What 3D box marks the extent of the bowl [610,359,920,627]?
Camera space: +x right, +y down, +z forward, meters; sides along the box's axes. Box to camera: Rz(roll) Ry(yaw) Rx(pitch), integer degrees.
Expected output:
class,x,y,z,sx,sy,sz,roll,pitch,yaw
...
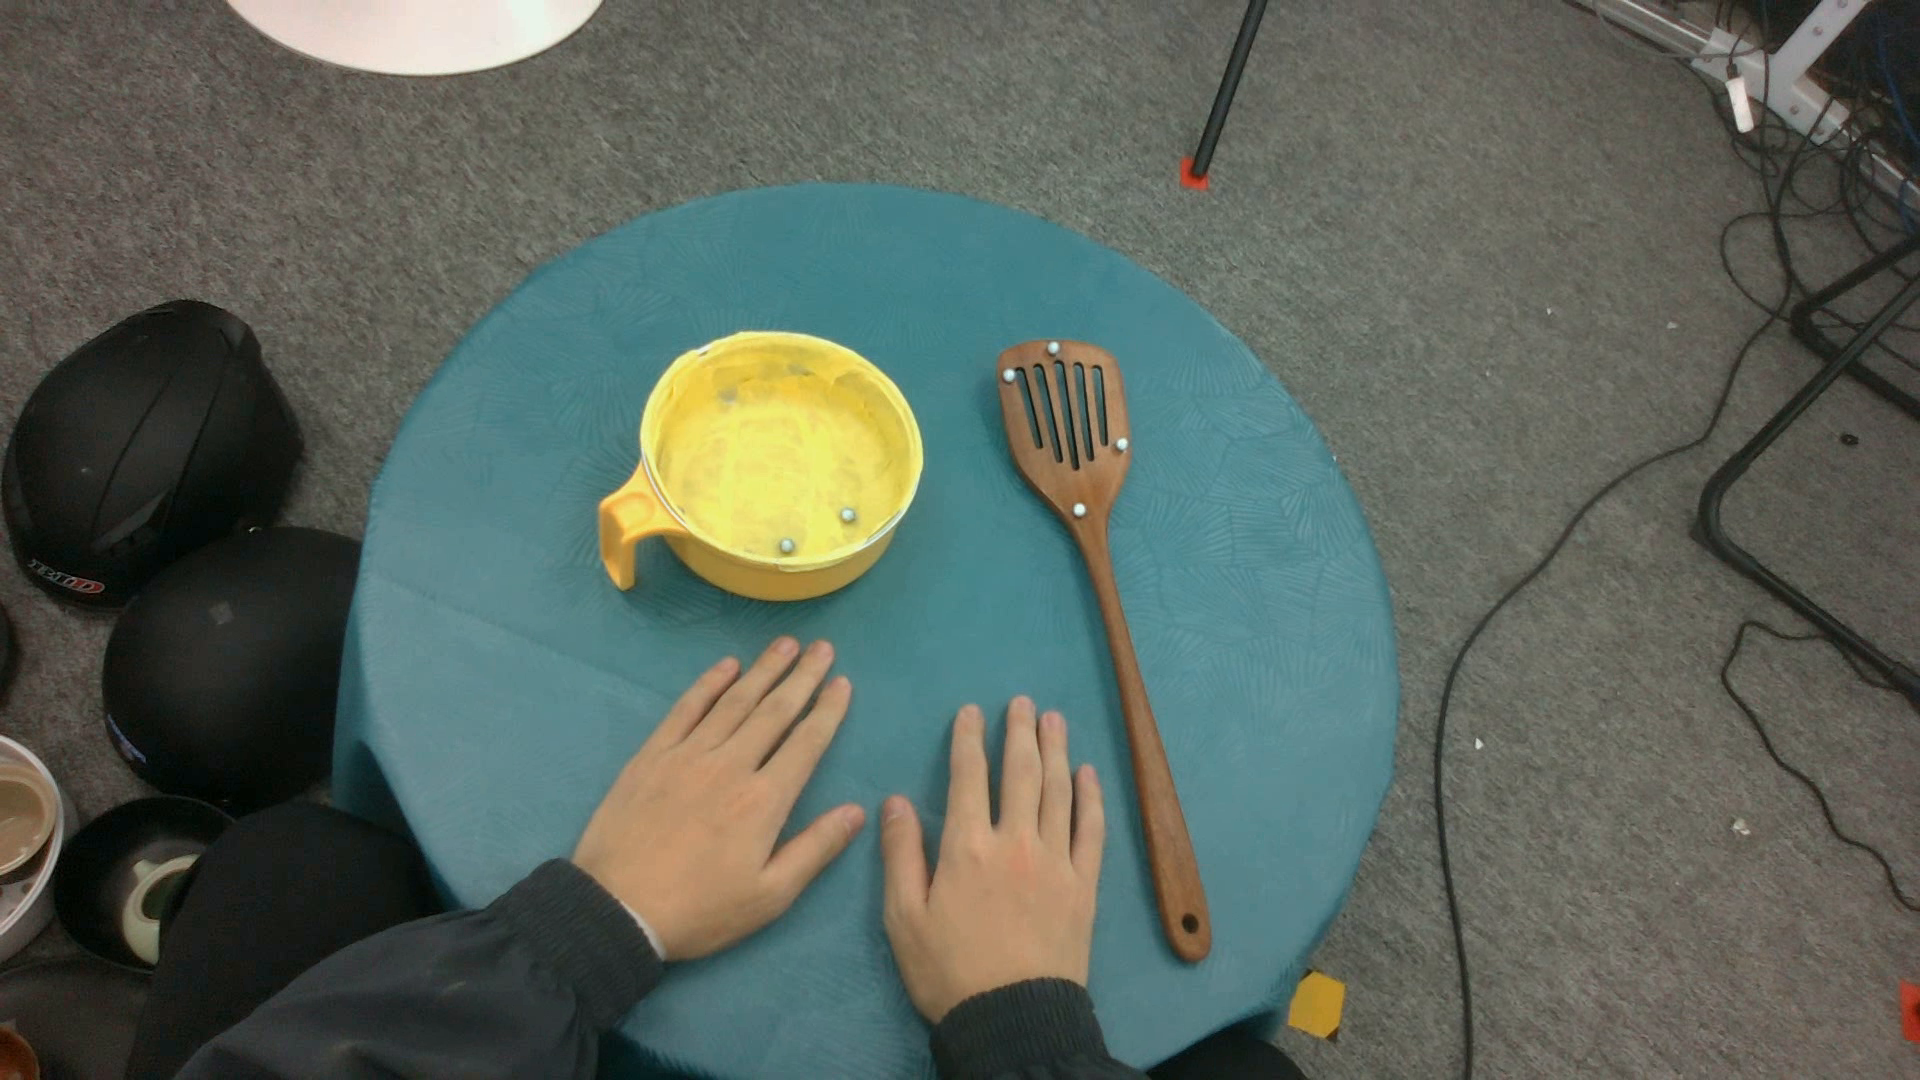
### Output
class,x,y,z,sx,sy,sz,roll,pitch,yaw
bowl,-0.113,-0.020,0.782,0.180,0.074,0.153,-35,70,-27

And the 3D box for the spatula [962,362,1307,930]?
class,x,y,z,sx,sy,sz,roll,pitch,yaw
spatula,0.105,0.049,0.815,0.085,0.024,0.387,-19,61,-11
